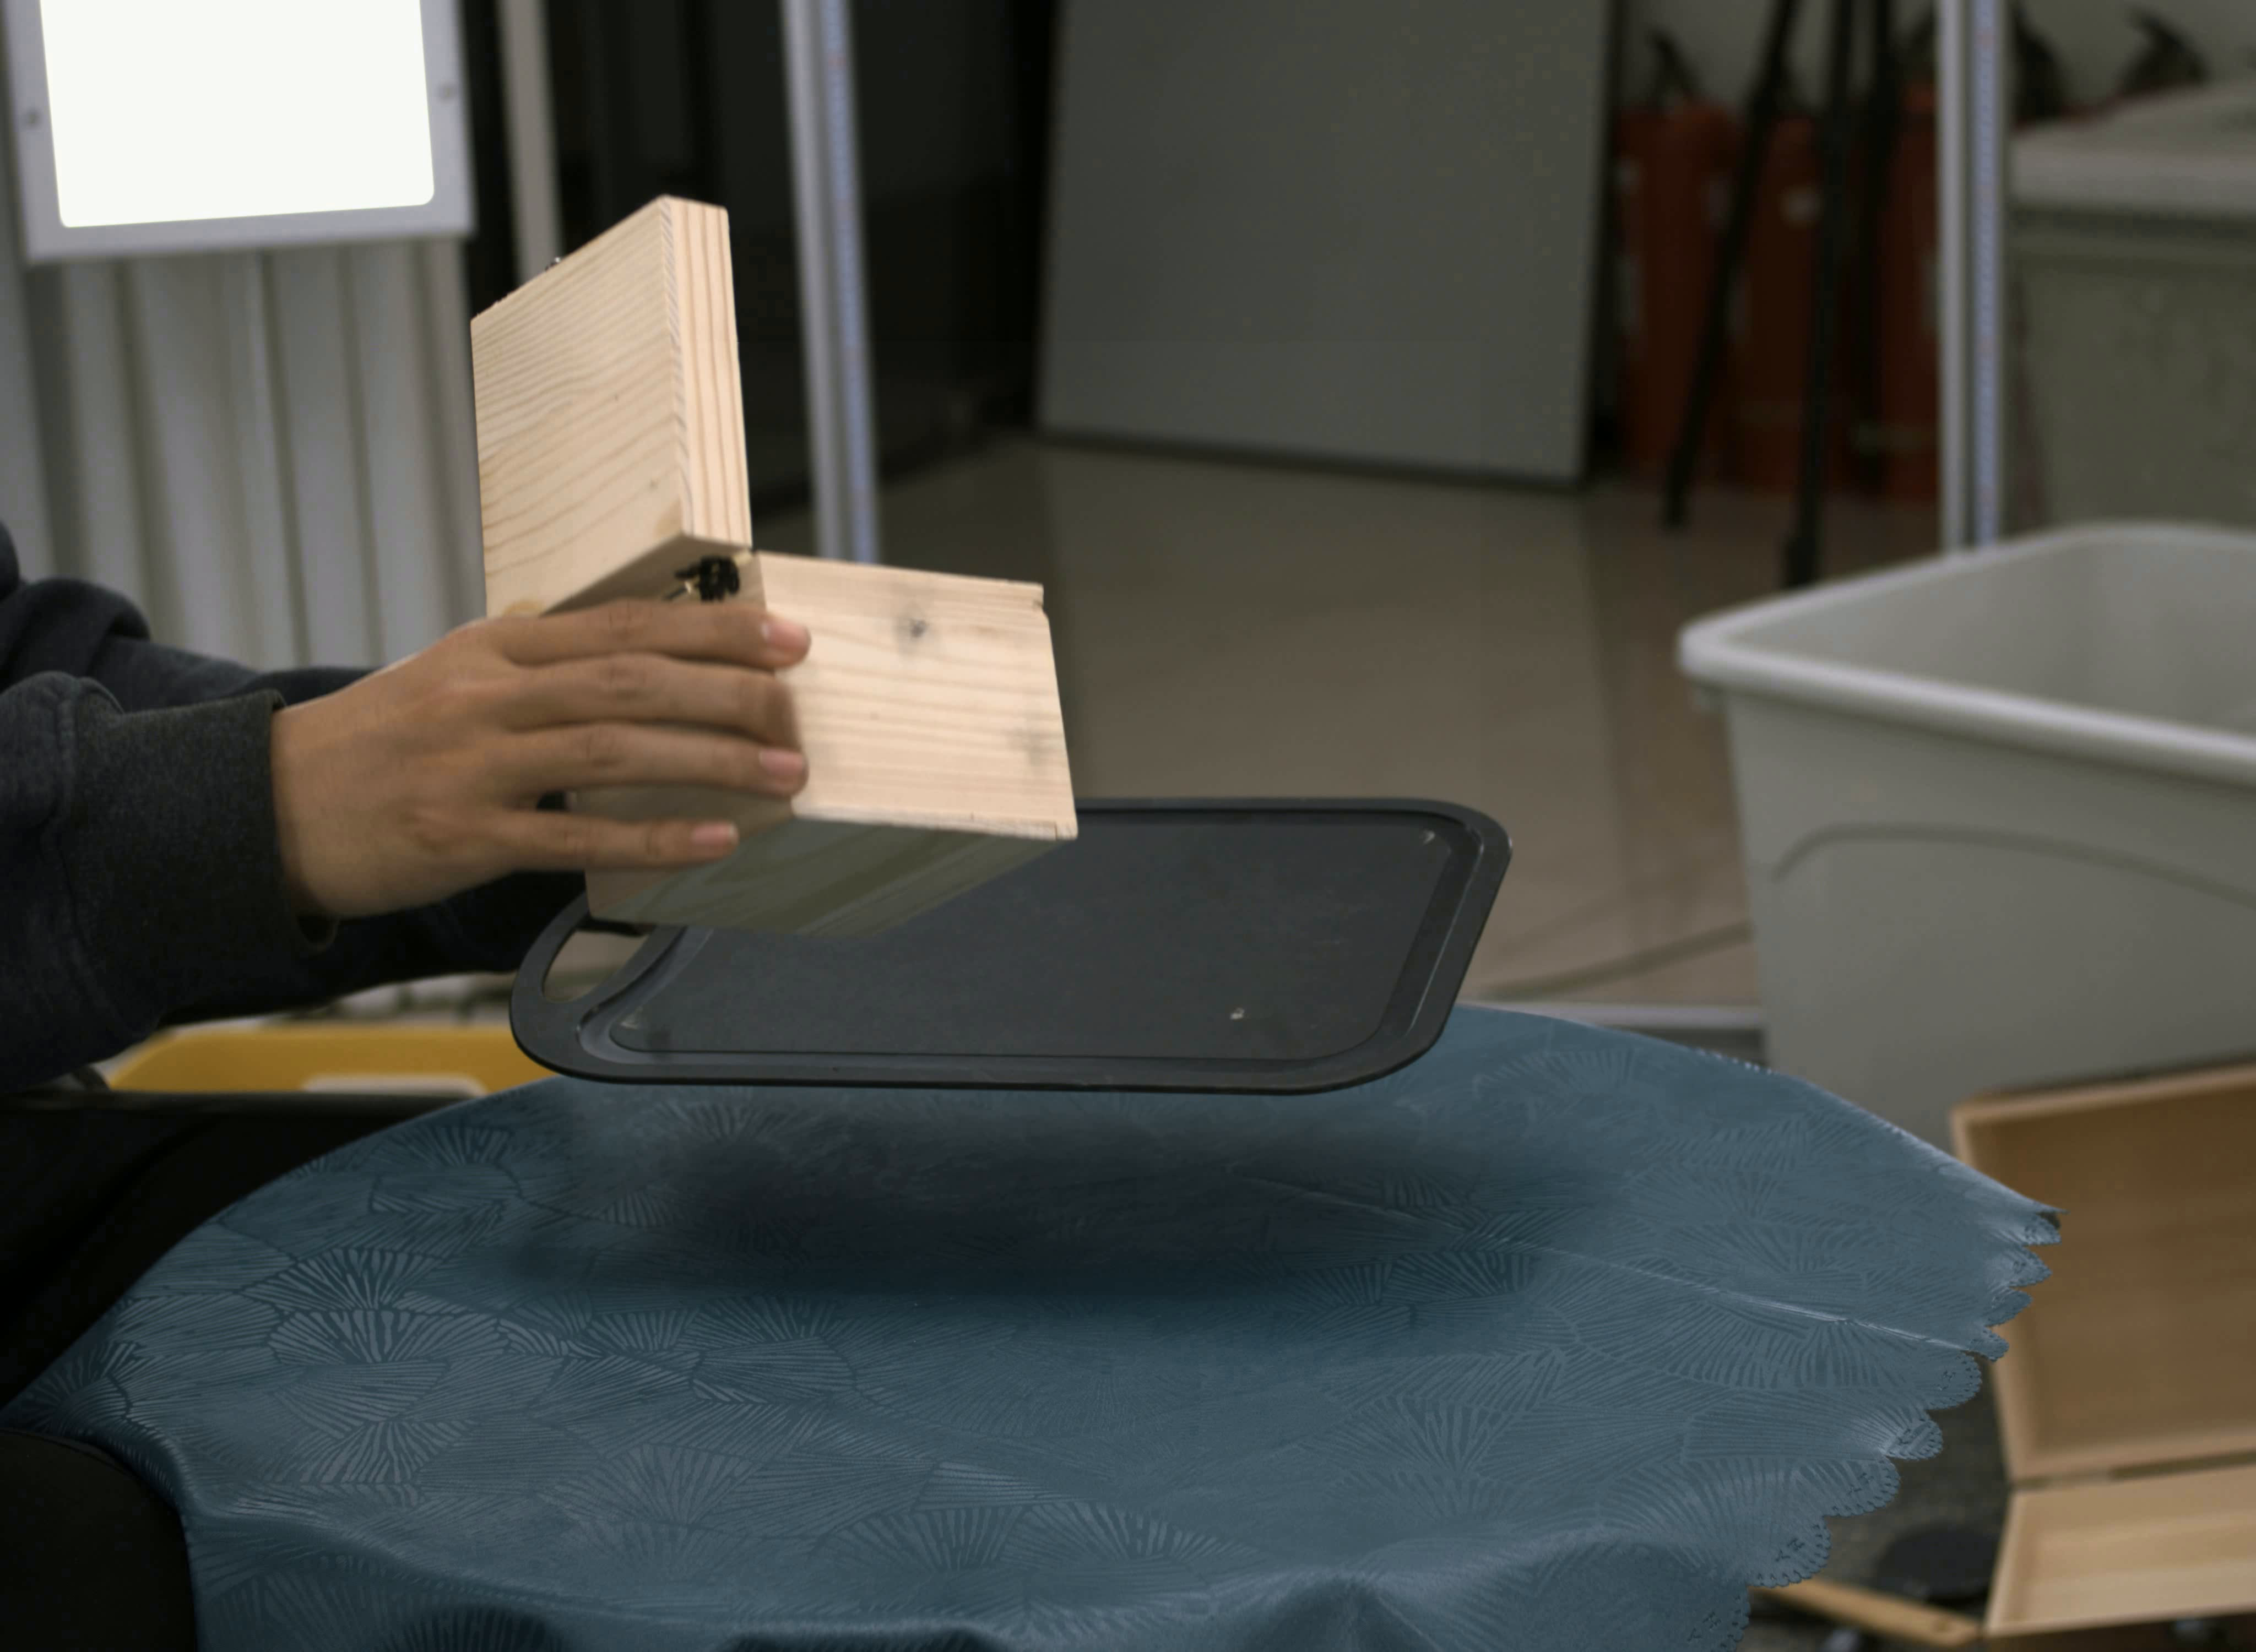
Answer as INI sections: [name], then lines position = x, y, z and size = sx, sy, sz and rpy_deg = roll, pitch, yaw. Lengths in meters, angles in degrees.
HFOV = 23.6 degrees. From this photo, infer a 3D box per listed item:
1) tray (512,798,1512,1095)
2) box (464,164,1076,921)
[tray]
position = -0.043, 0.035, 1.770
size = 0.324, 0.010, 0.210
rpy_deg = 0, 25, 17
[box]
position = -0.102, -0.078, 1.532
size = 0.131, 0.187, 0.103
rpy_deg = 4, -18, -39
